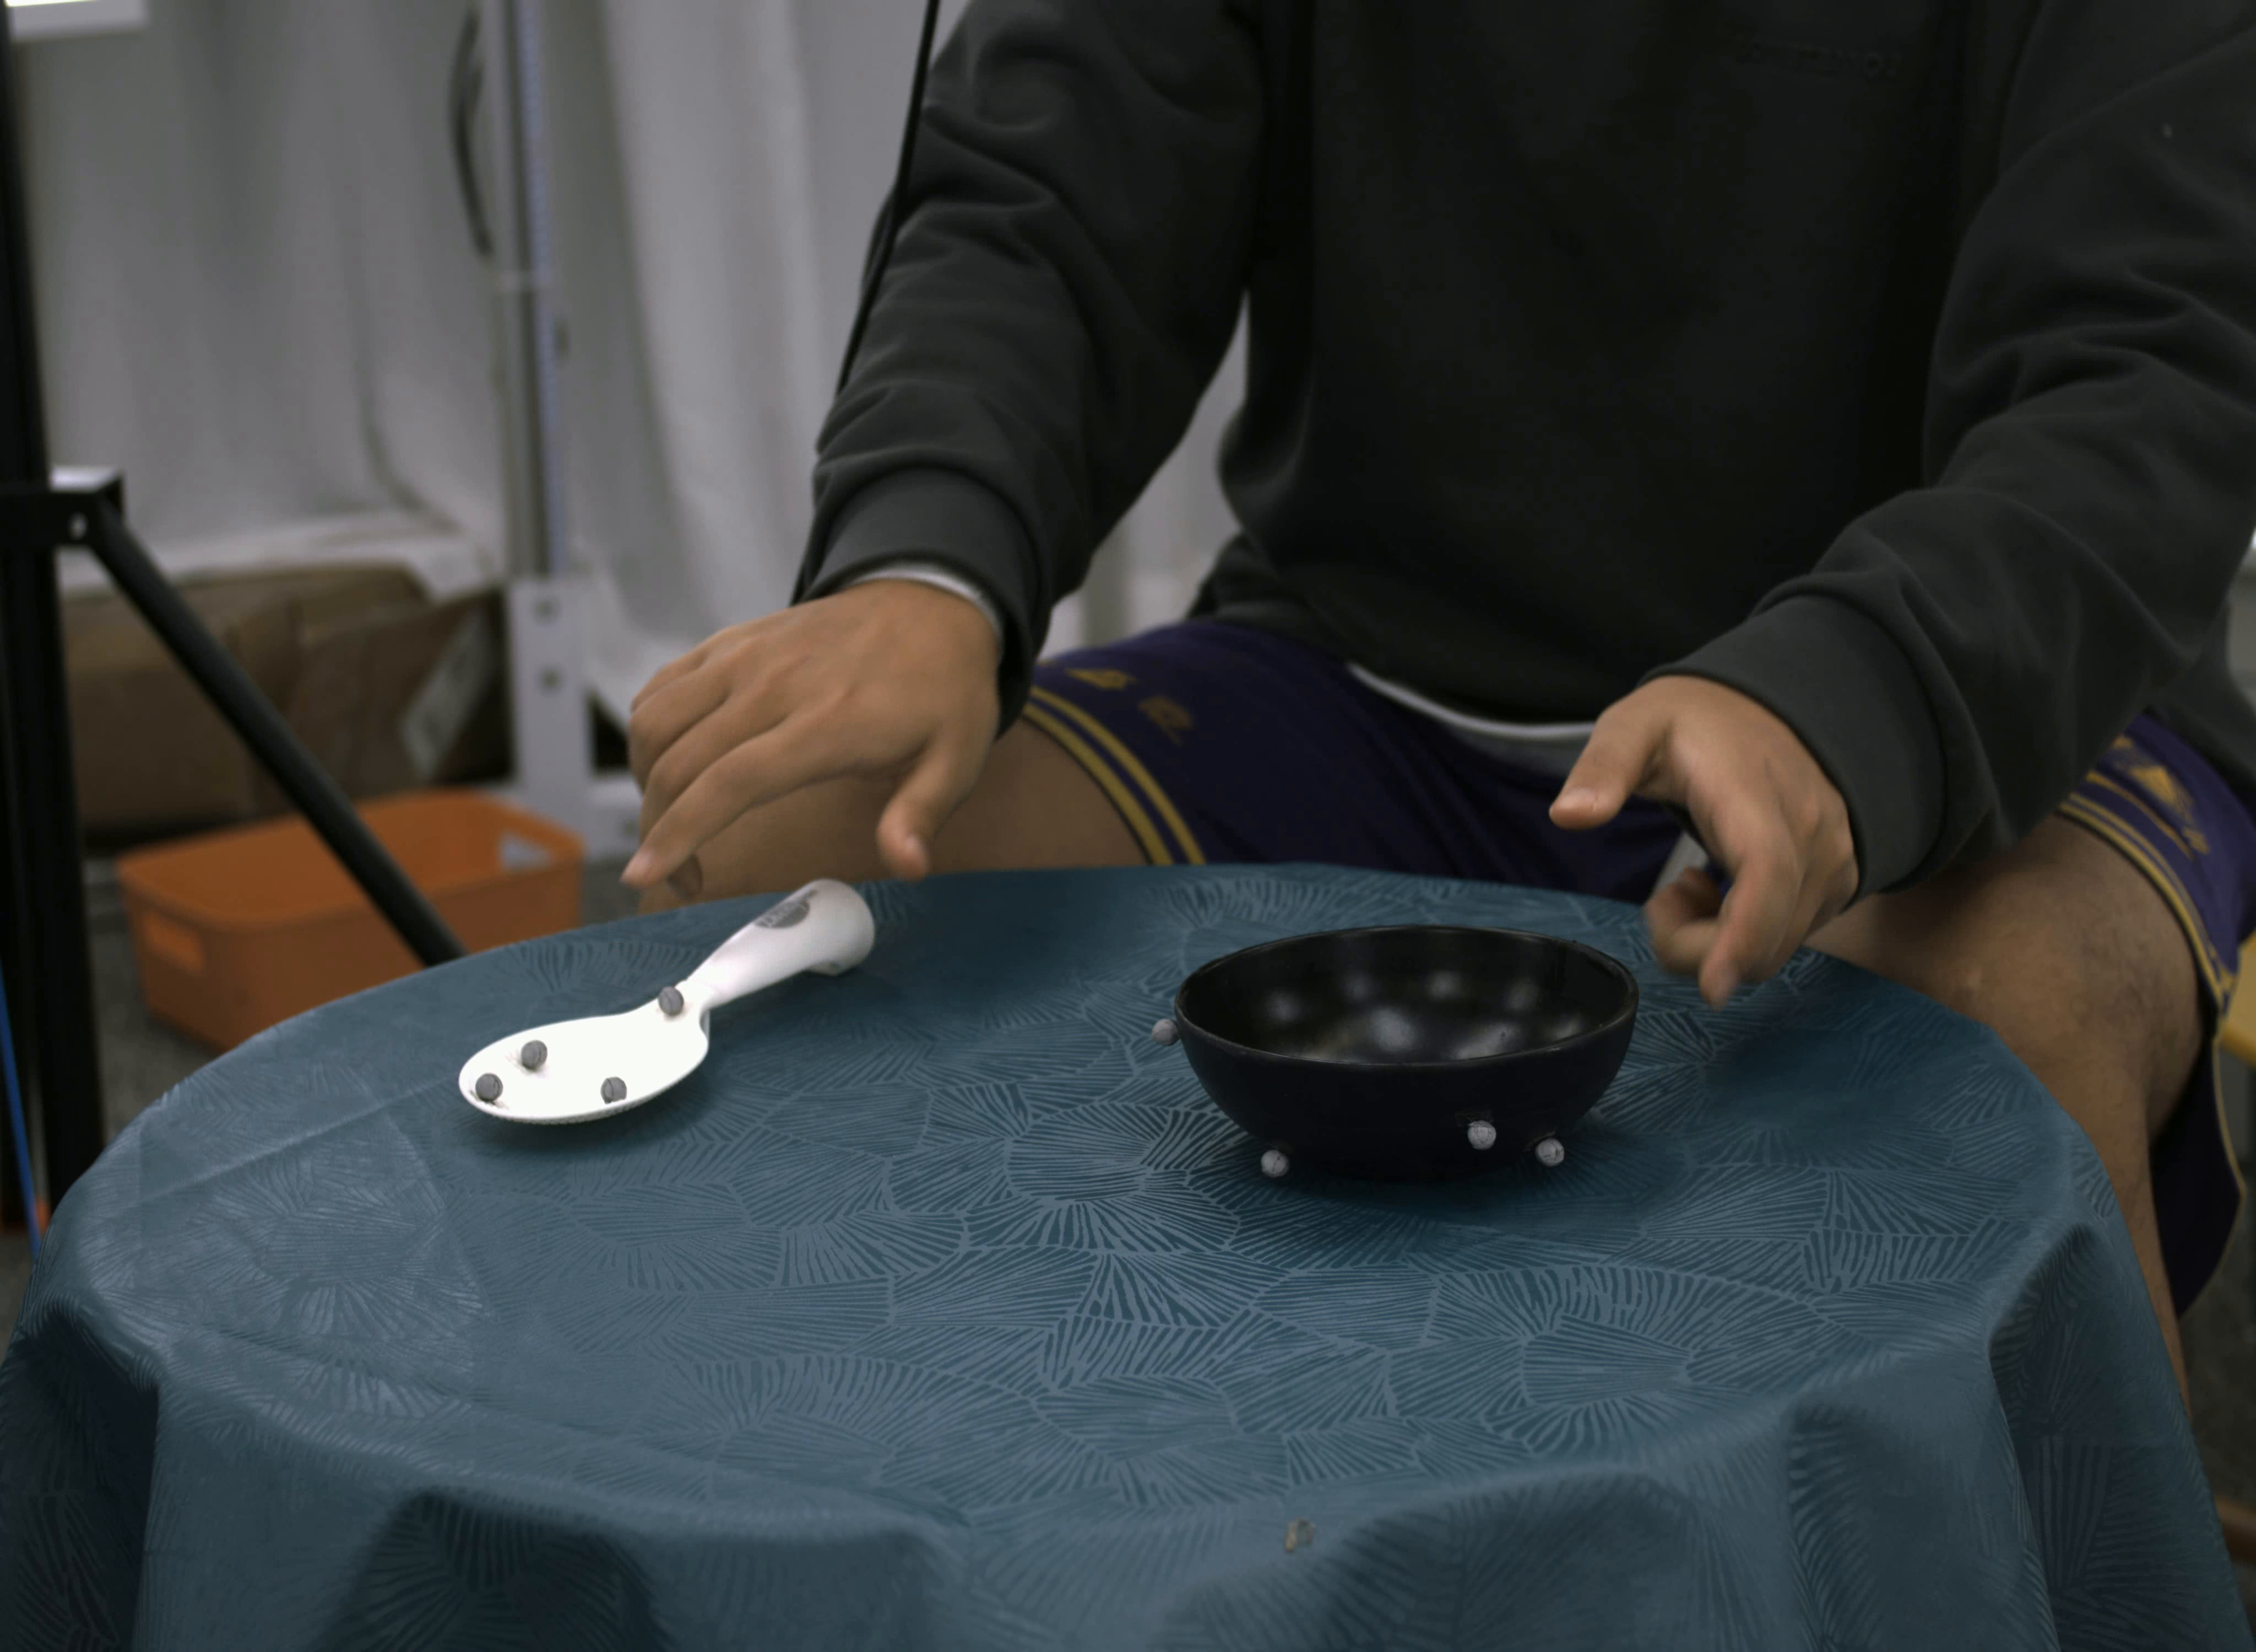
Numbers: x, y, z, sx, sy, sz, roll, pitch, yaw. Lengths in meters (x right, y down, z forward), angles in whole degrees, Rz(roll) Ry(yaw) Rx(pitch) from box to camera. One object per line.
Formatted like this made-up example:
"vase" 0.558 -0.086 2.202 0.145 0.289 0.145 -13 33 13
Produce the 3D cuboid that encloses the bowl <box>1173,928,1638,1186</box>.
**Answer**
"bowl" 0.084 0.073 1.582 0.139 0.050 0.141 -3 15 -1

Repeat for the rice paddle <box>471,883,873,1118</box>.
"rice paddle" -0.141 0.058 1.705 0.070 0.029 0.202 6 17 25
